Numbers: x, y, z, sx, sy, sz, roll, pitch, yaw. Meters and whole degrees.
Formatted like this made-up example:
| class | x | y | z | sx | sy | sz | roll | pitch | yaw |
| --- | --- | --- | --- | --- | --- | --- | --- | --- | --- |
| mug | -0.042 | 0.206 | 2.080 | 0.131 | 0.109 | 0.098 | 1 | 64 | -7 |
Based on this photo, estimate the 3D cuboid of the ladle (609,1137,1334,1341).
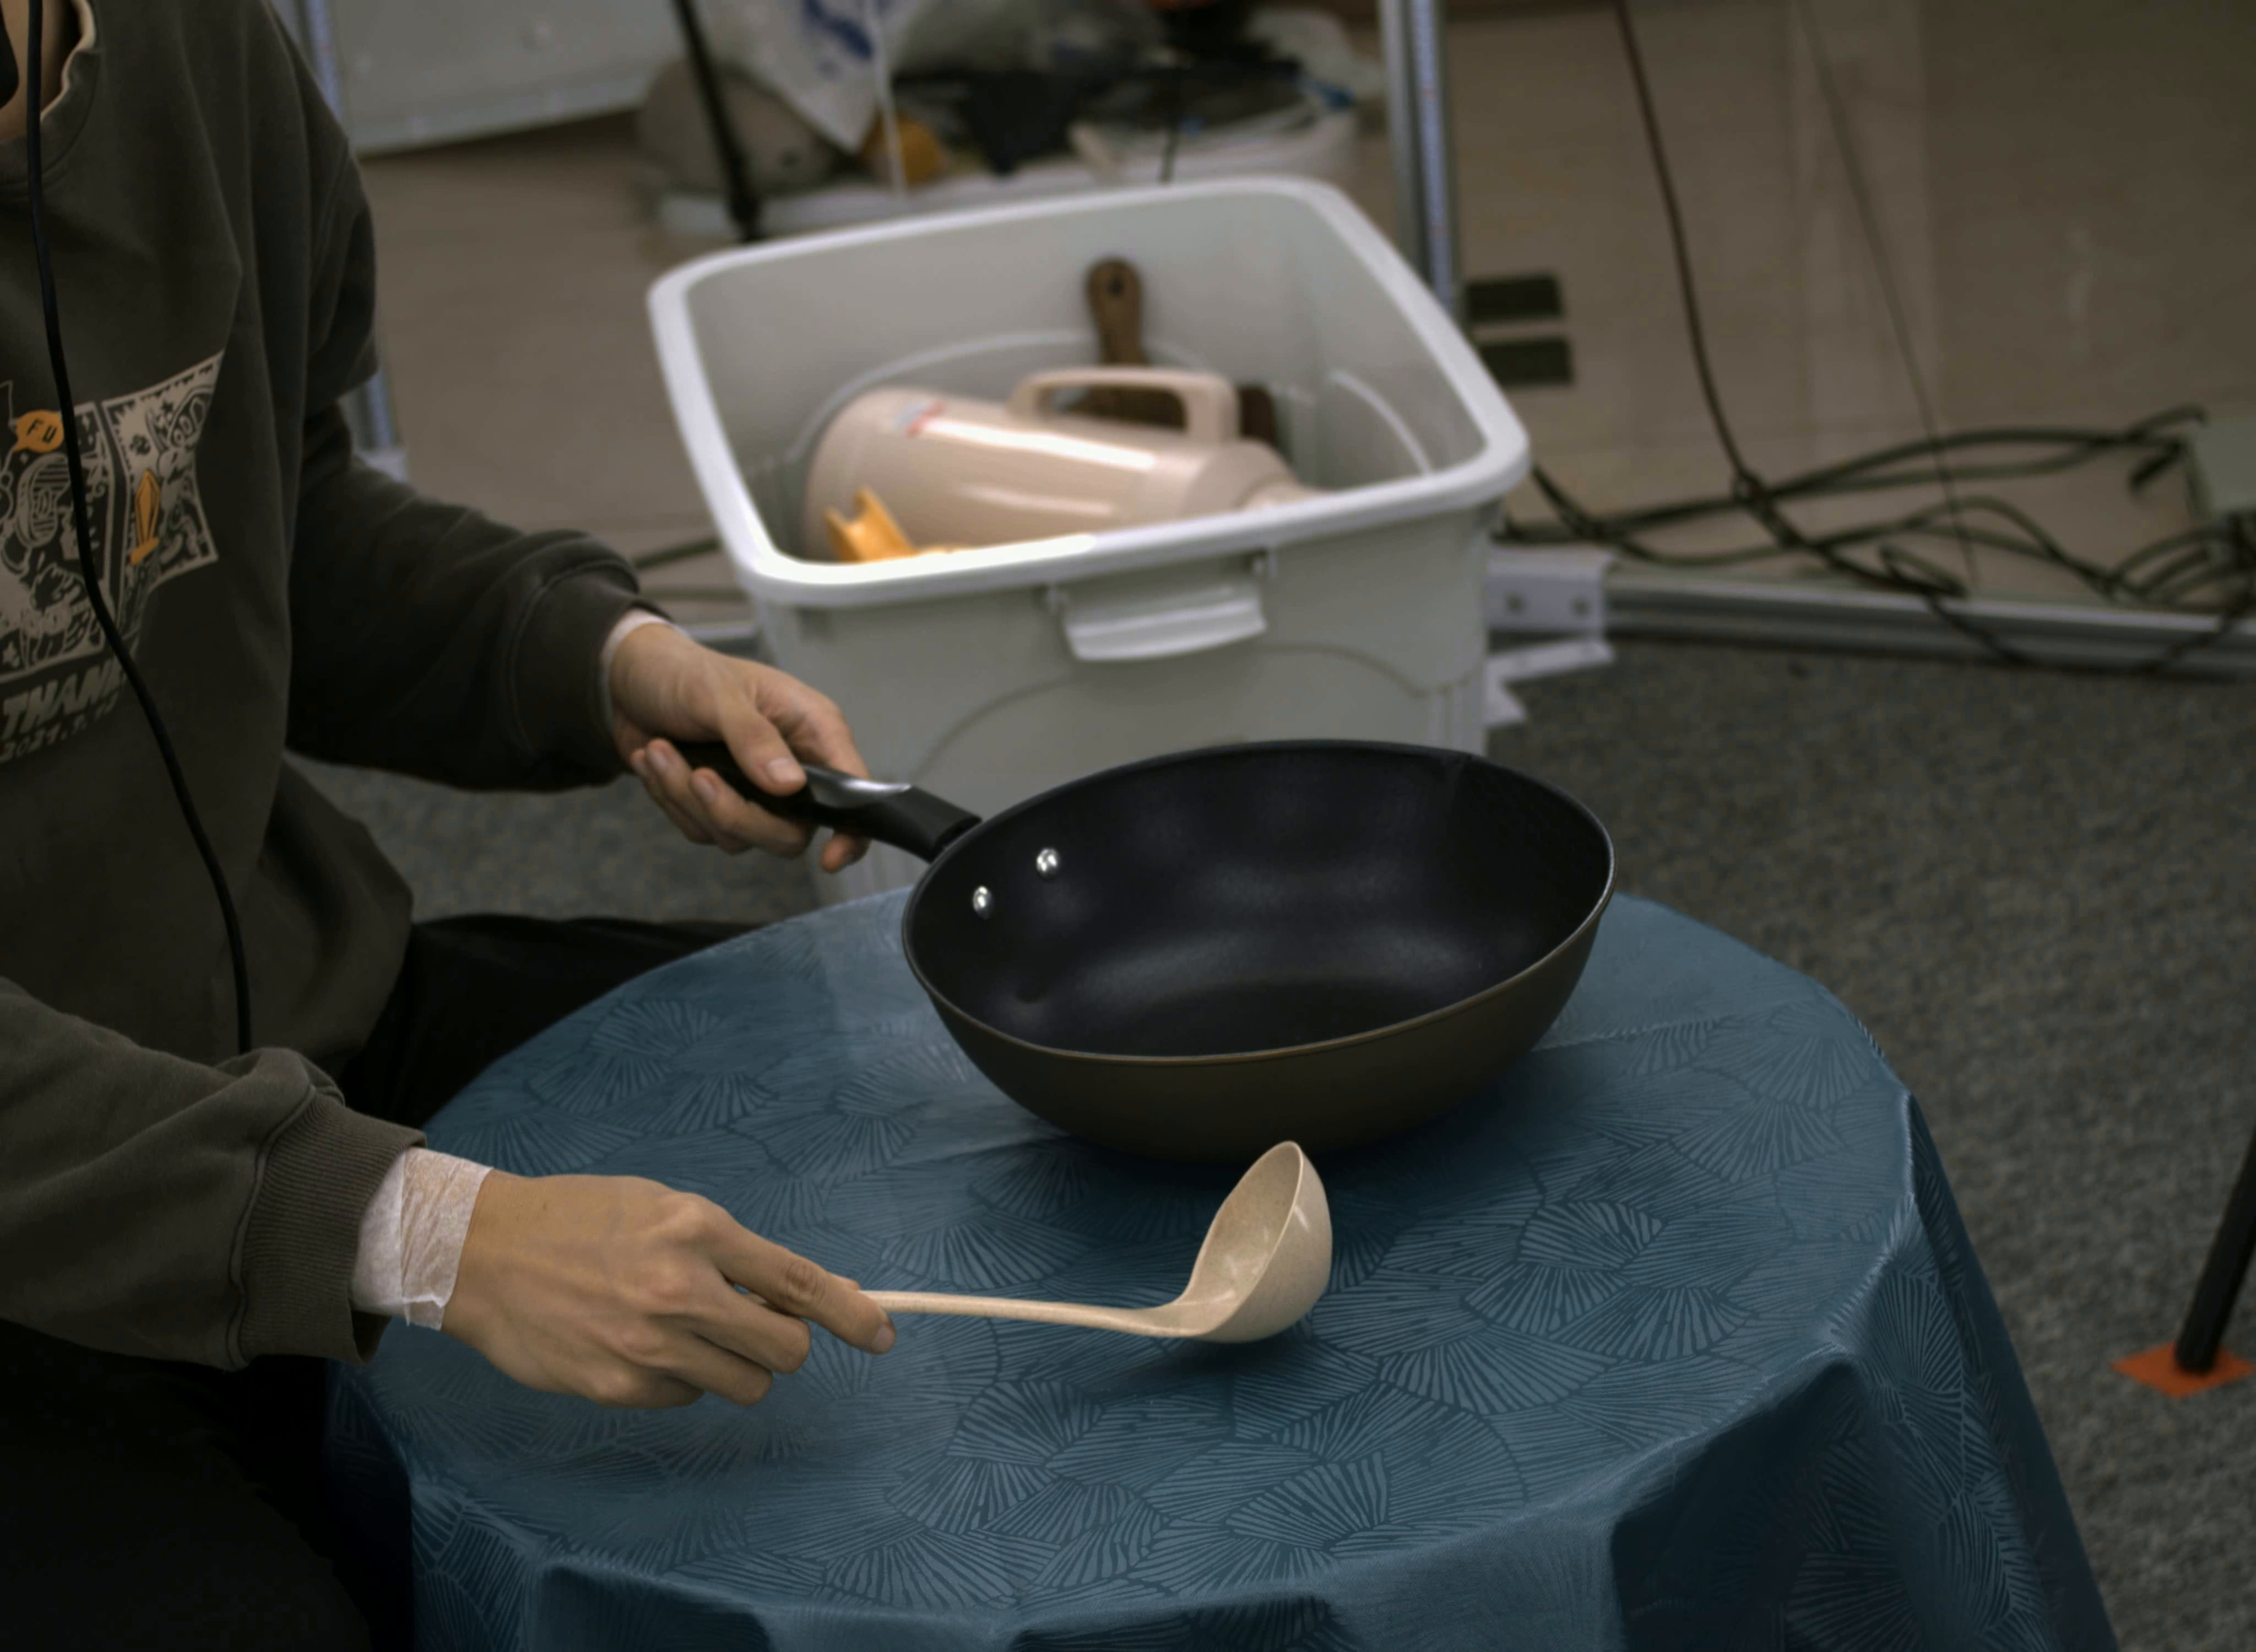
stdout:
| class | x | y | z | sx | sy | sz | roll | pitch | yaw |
| --- | --- | --- | --- | --- | --- | --- | --- | --- | --- |
| ladle | -0.053 | 0.143 | 1.991 | 0.254 | 0.074 | 0.071 | 2 | 19 | -13 |

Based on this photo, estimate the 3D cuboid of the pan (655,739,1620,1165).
| class | x | y | z | sx | sy | sz | roll | pitch | yaw |
| --- | --- | --- | --- | --- | --- | --- | --- | --- | --- |
| pan | -0.017 | 0.042 | 2.258 | 0.460 | 0.088 | 0.285 | 13 | 31 | 37 |
